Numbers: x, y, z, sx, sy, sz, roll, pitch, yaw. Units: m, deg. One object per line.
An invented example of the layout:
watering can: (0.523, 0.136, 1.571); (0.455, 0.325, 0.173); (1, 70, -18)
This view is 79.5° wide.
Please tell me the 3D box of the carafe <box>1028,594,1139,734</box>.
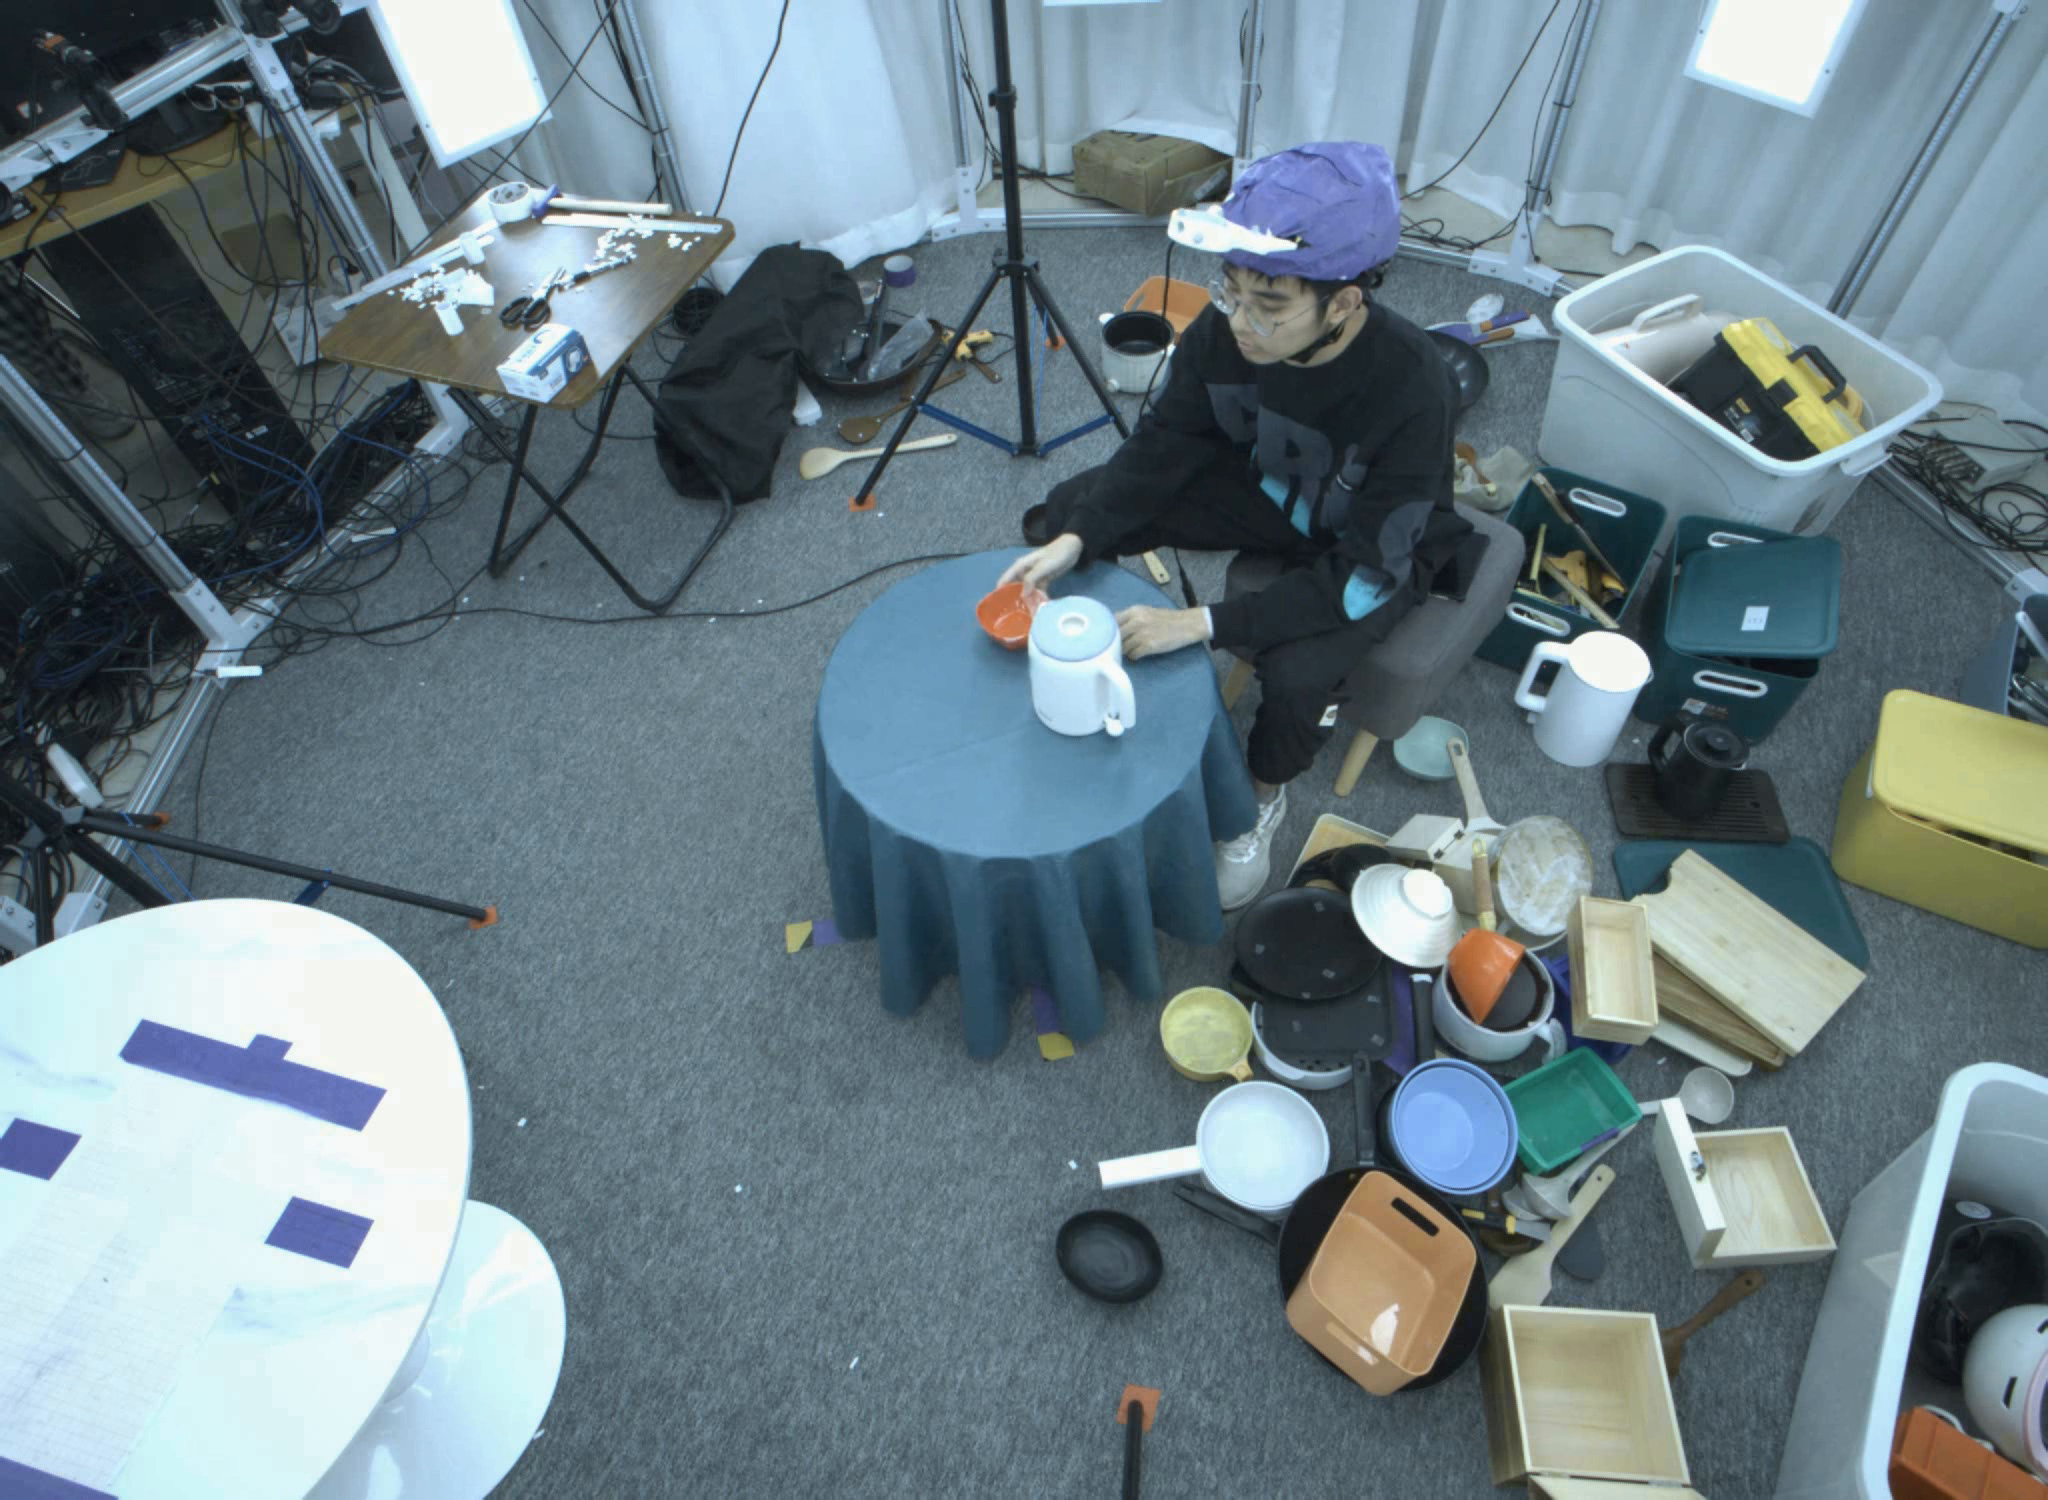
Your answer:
carafe: (0.091, -0.107, 1.751); (0.133, 0.184, 0.188); (-39, 64, -21)

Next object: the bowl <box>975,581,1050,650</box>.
bowl: (-0.014, -0.200, 1.887); (0.118, 0.052, 0.118); (-3, 55, 6)
